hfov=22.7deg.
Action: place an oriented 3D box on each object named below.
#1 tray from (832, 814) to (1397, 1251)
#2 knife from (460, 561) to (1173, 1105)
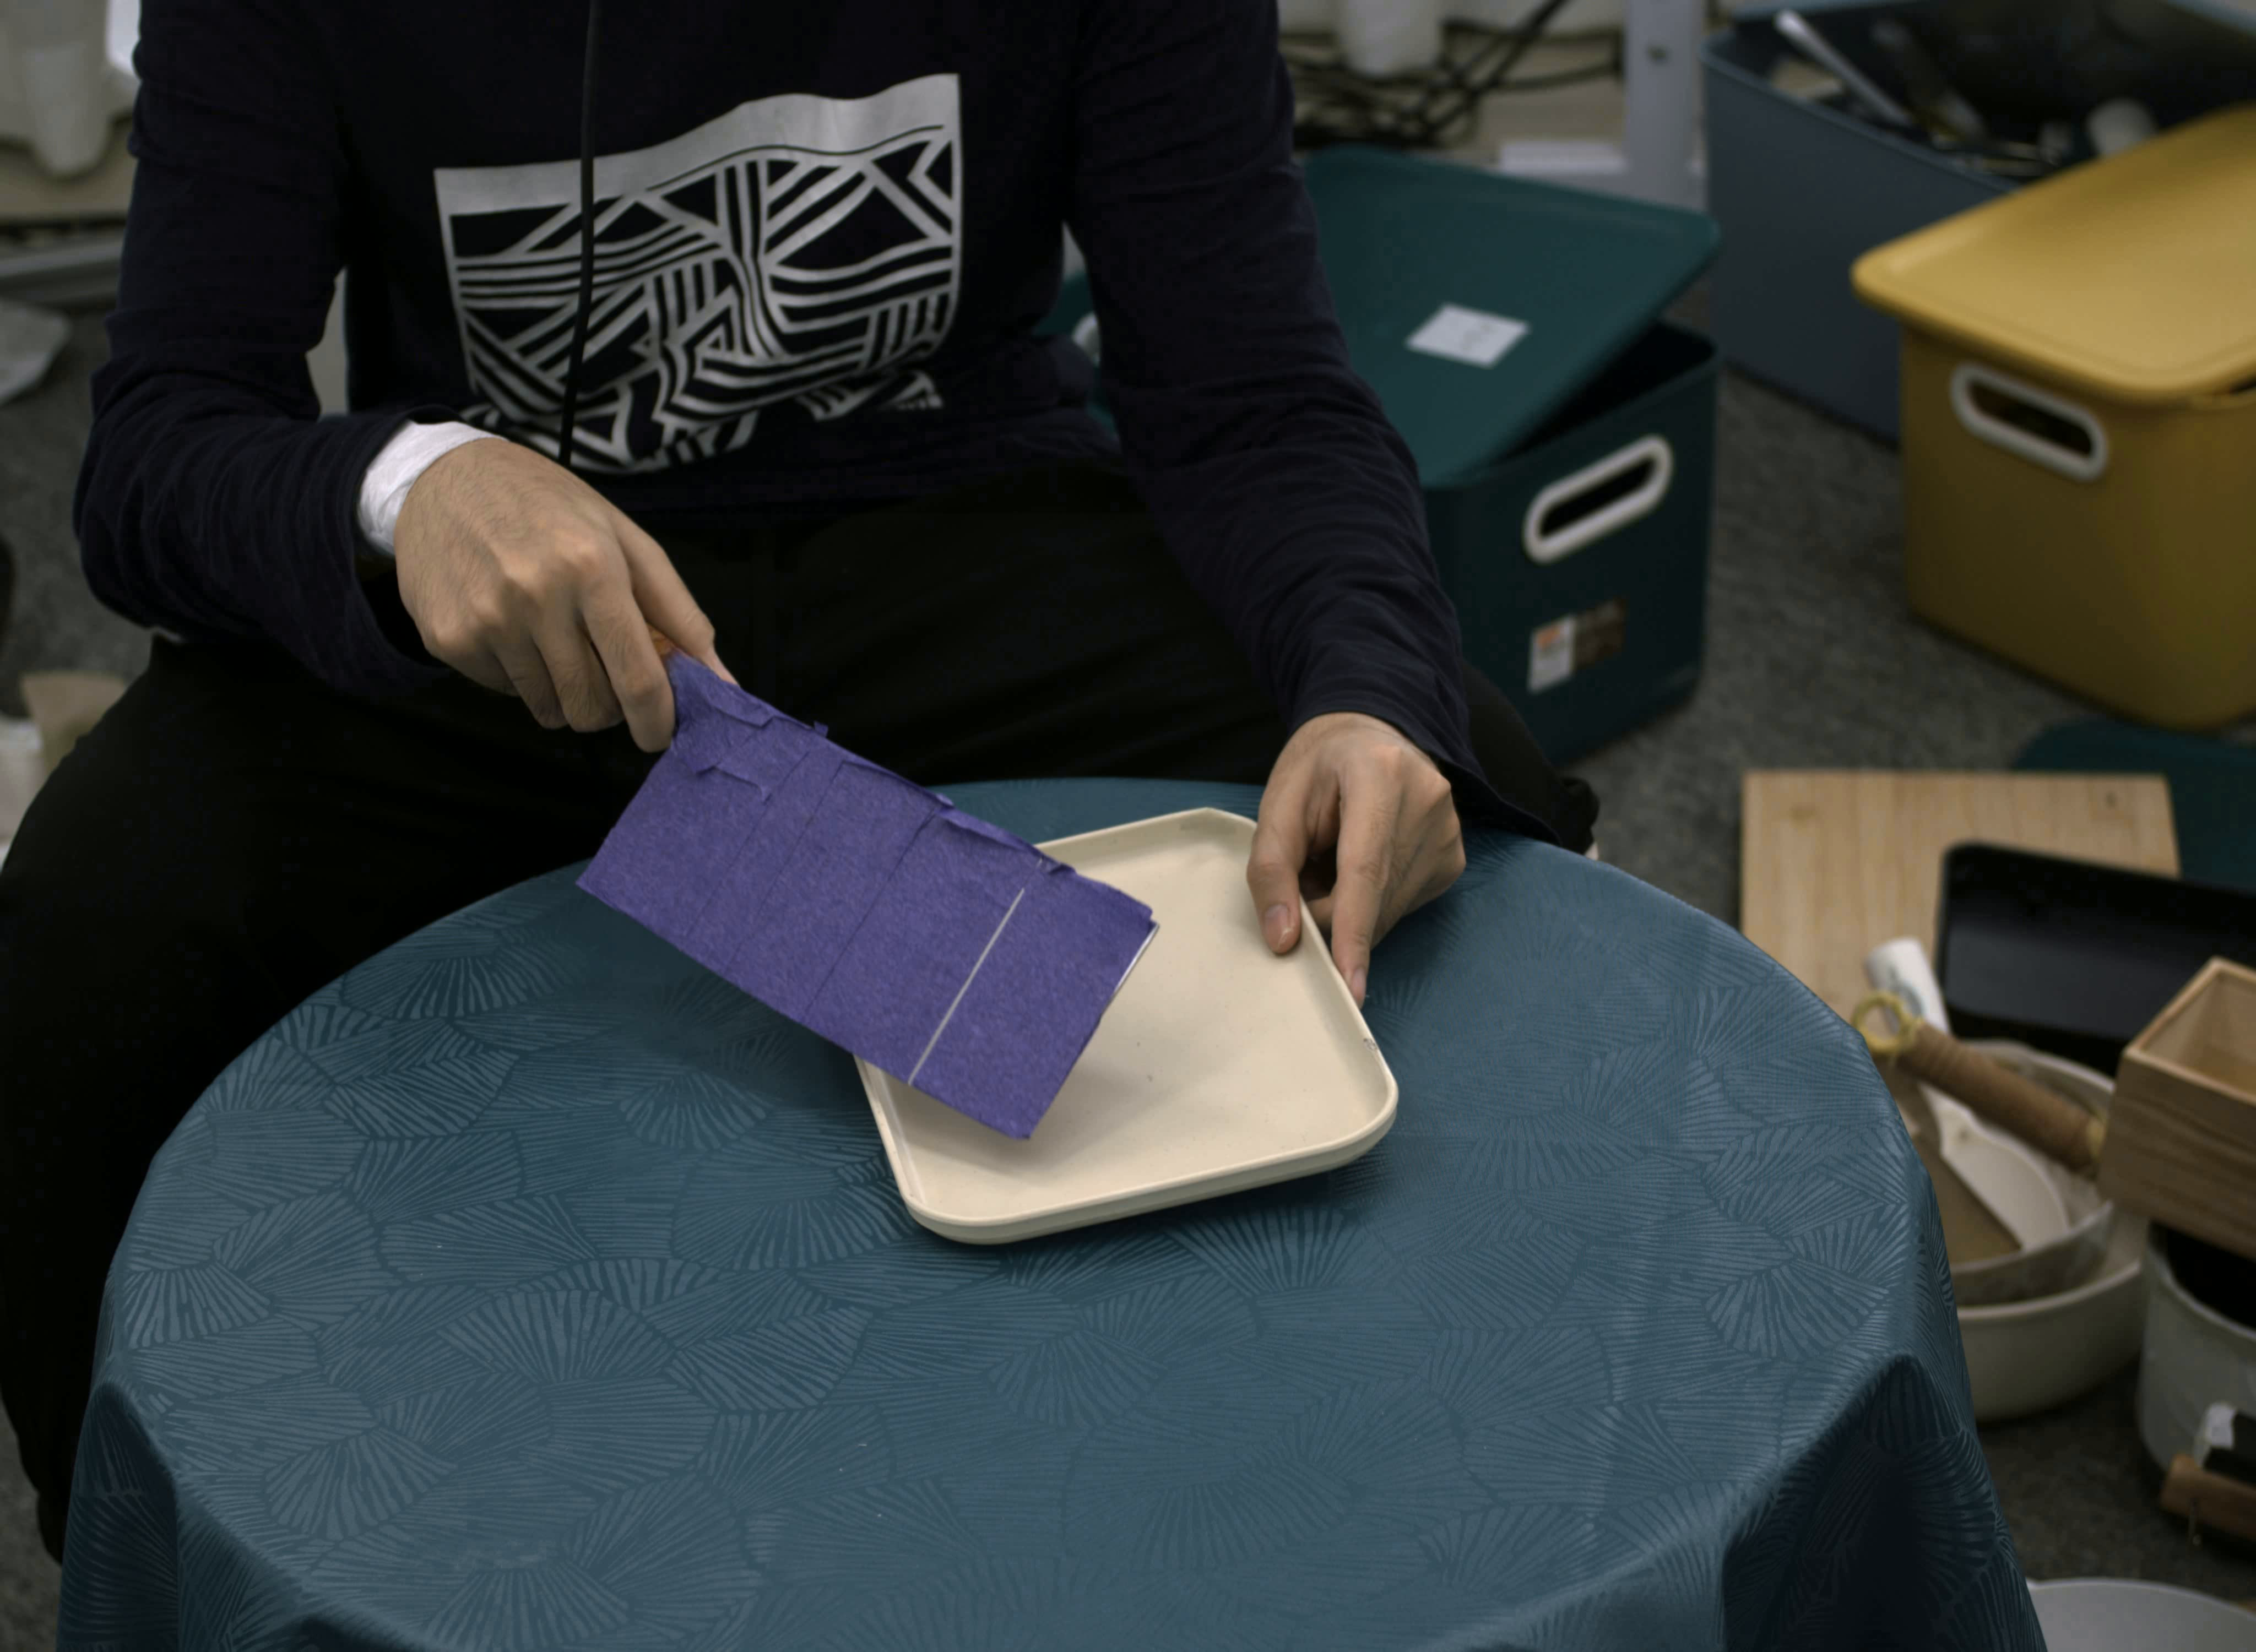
[{"bbox_3d":[-0.011,0.069,1.932,0.171,0.017,0.242,-12,29,-7],"label":"tray"},{"bbox_3d":[-0.129,0.001,1.935,0.315,0.032,0.105,27,76,33],"label":"knife"}]
